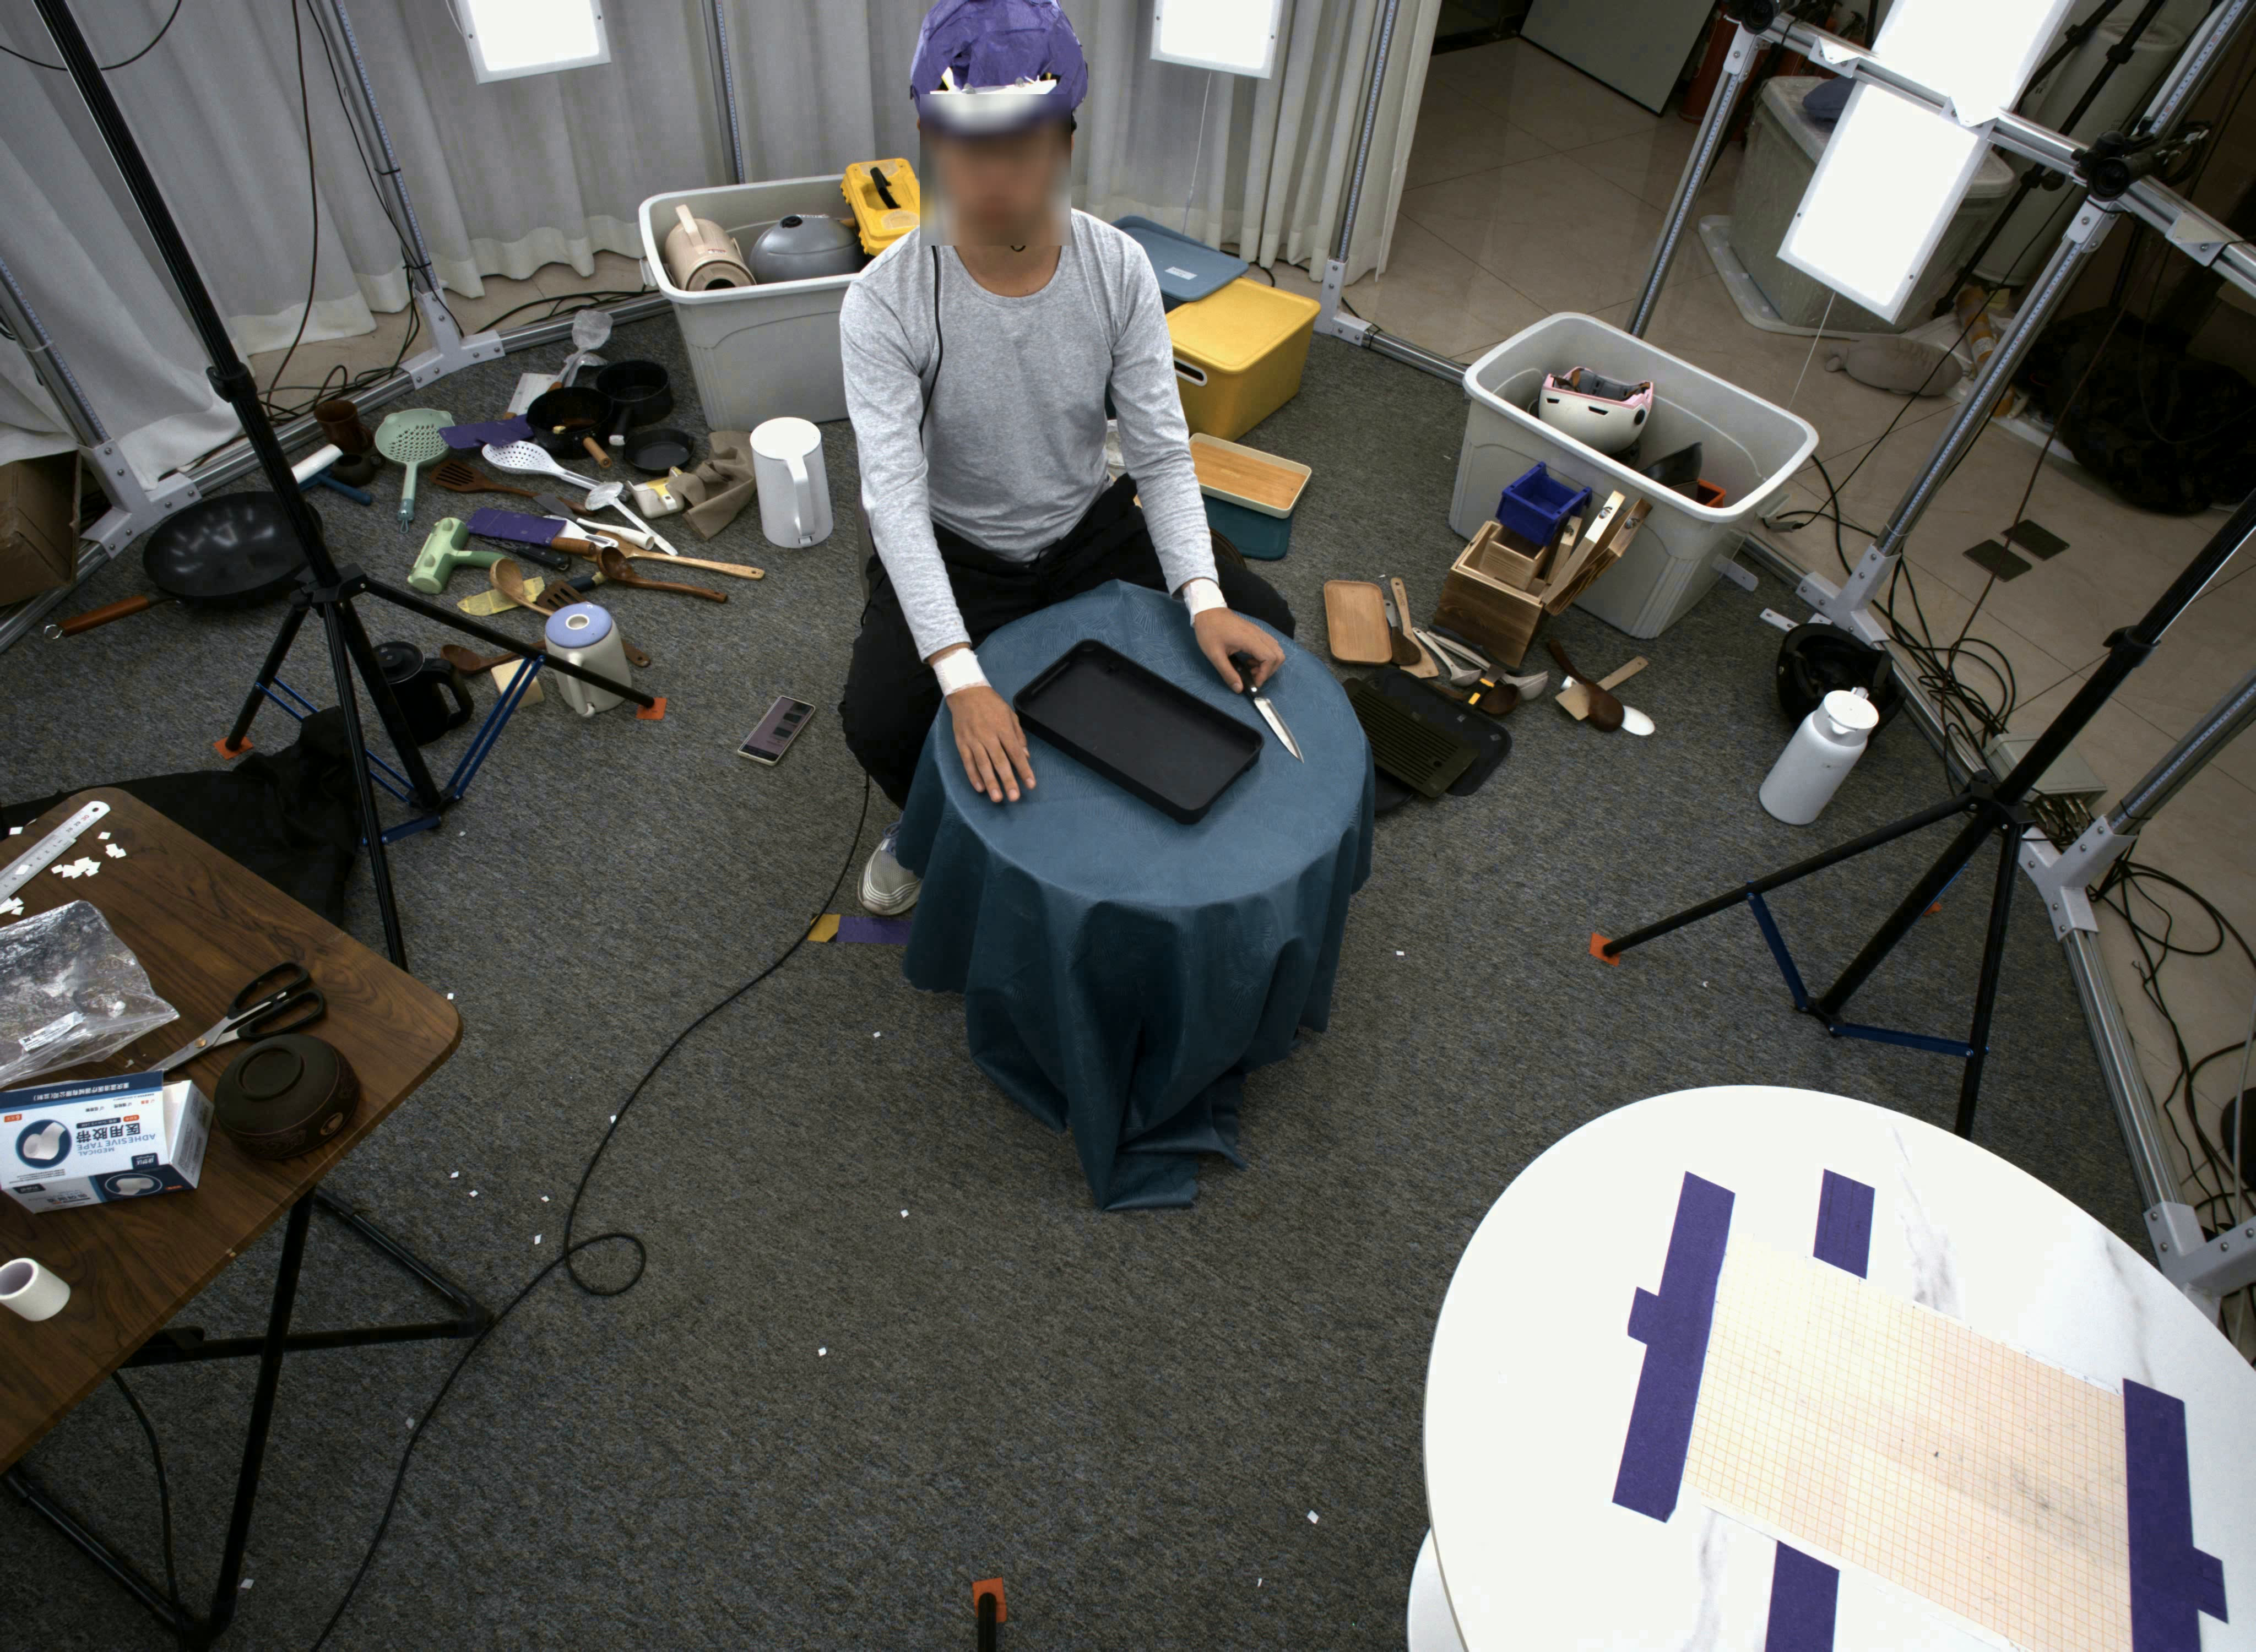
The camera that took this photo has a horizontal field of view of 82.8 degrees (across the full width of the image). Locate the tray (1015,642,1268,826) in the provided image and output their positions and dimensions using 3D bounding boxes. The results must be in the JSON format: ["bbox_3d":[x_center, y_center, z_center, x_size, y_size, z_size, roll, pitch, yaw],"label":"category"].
[{"bbox_3d":[0.017,-0.132,1.760,0.321,0.036,0.187,30,53,21],"label":"tray"}]

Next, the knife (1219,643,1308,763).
[{"bbox_3d":[0.191,-0.175,1.822,0.024,0.016,0.243,-19,57,-19],"label":"knife"}]
